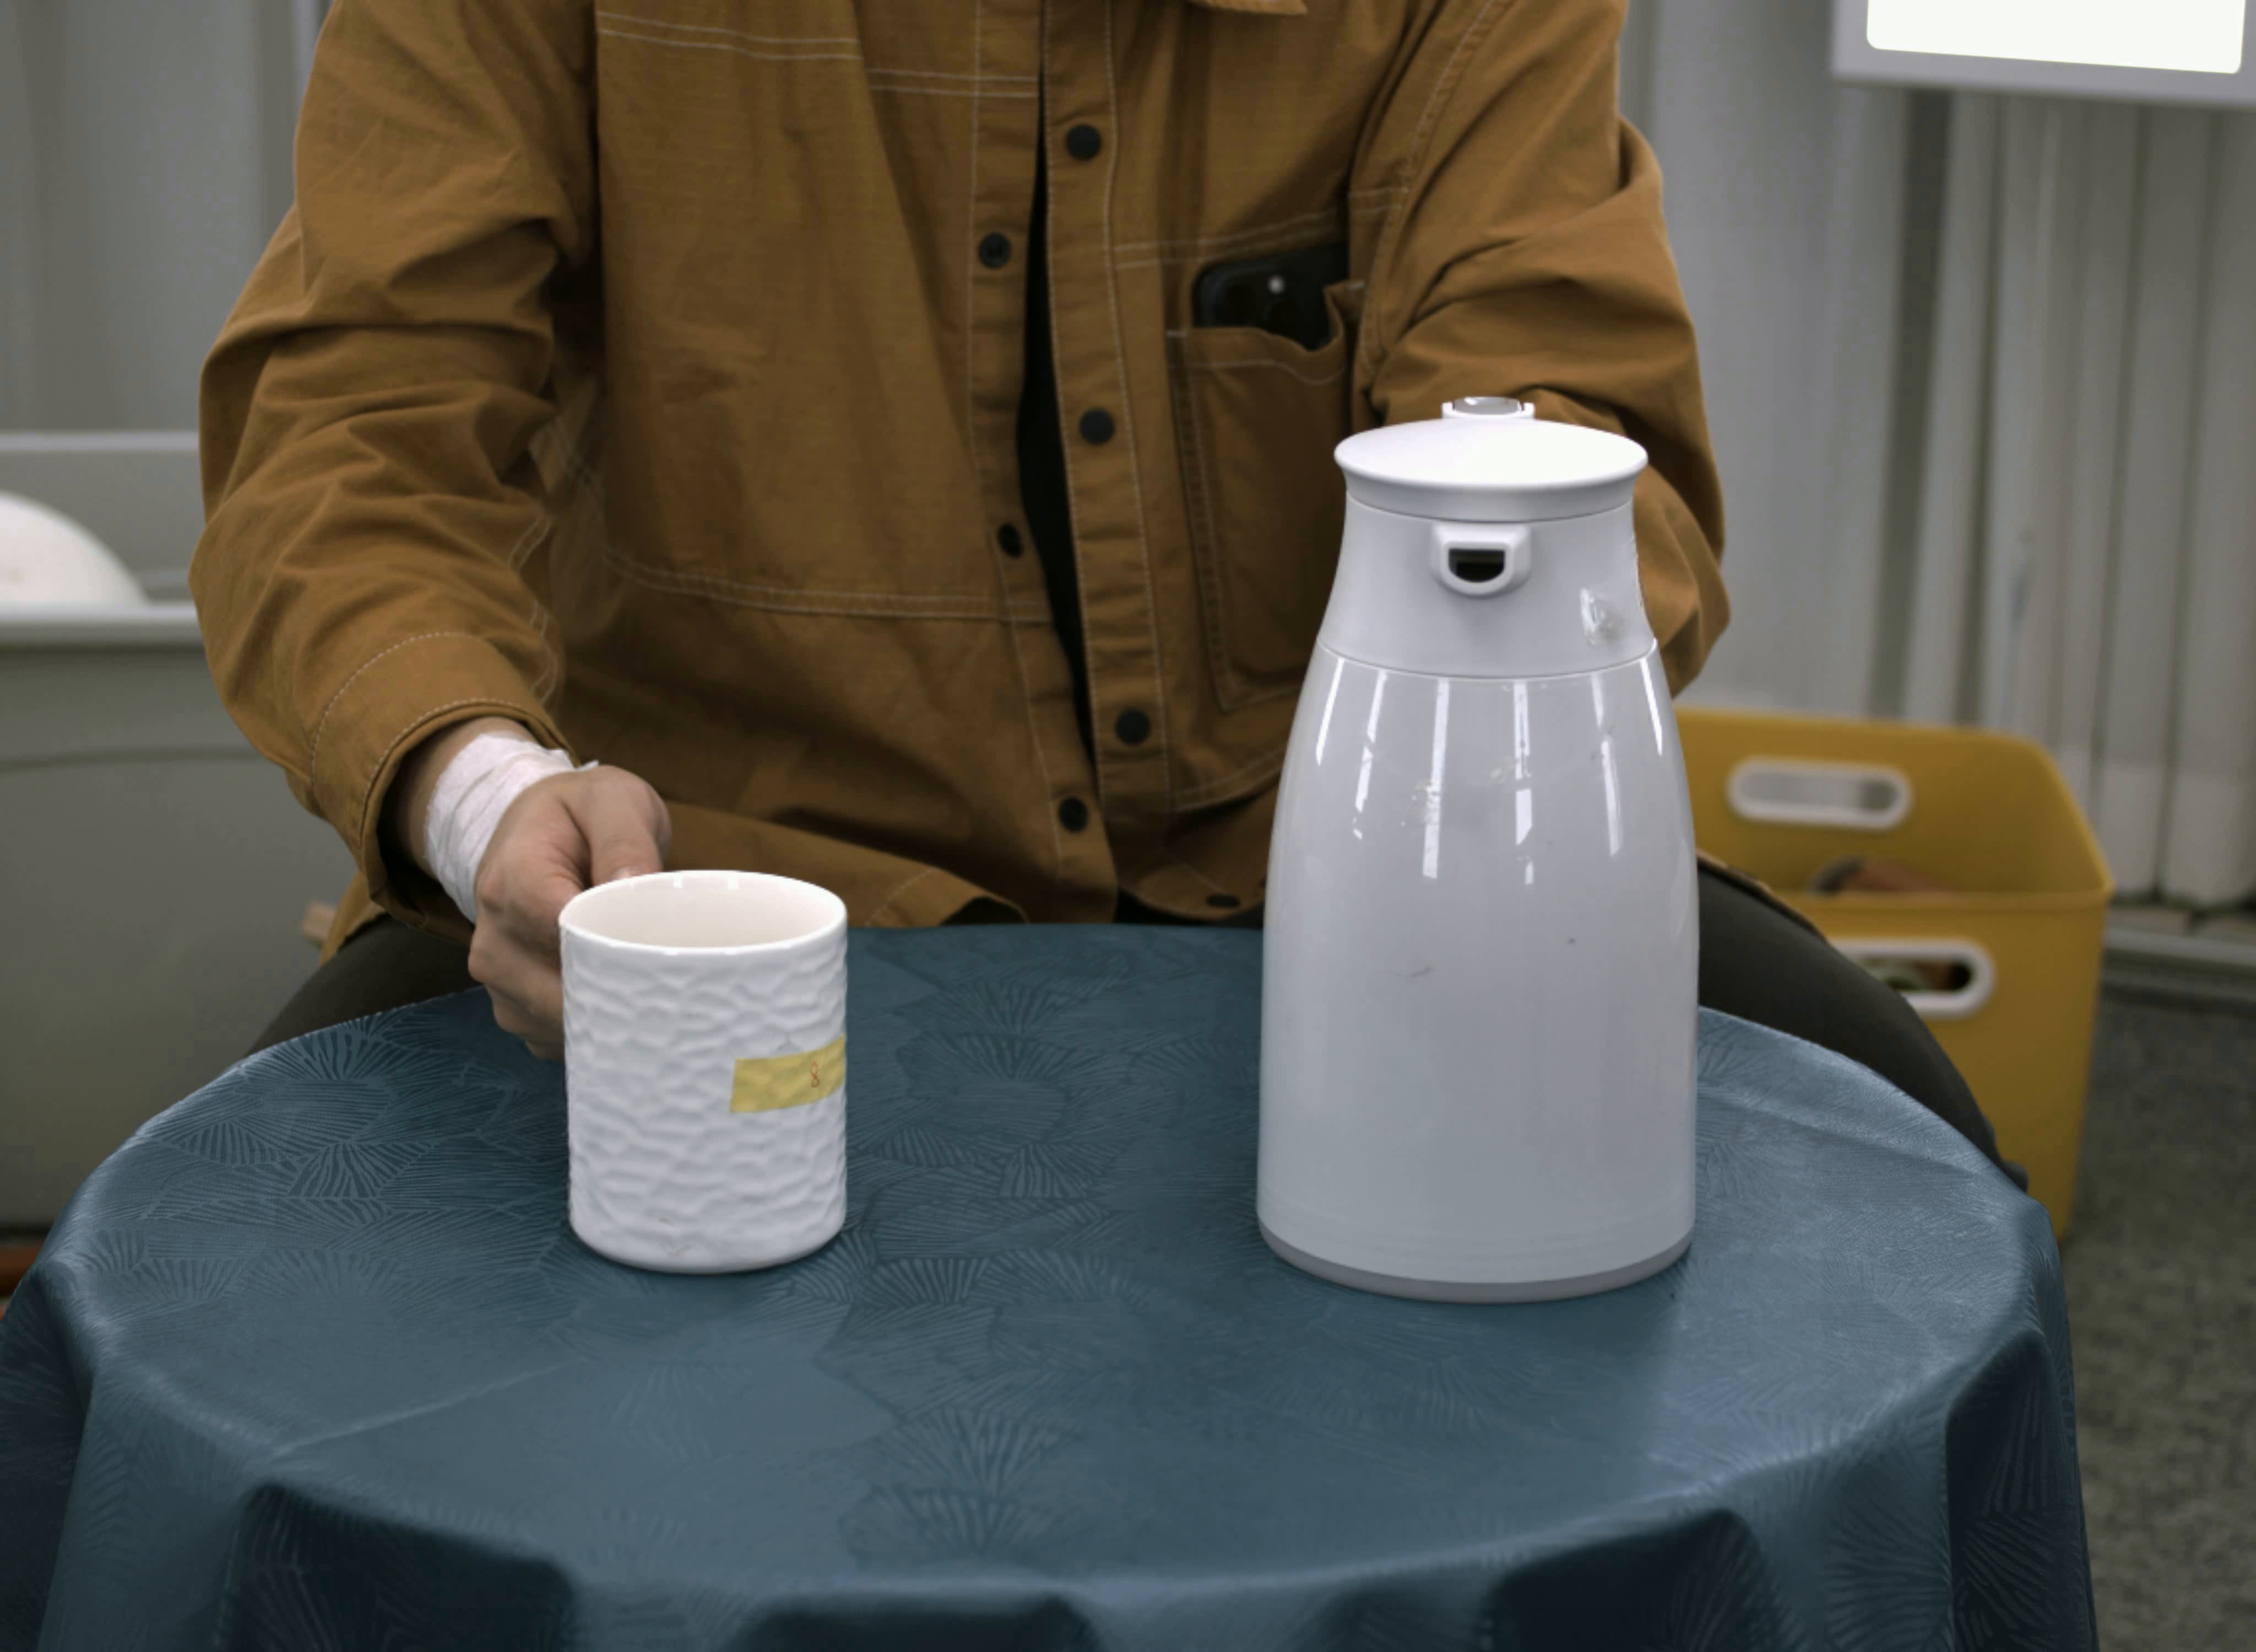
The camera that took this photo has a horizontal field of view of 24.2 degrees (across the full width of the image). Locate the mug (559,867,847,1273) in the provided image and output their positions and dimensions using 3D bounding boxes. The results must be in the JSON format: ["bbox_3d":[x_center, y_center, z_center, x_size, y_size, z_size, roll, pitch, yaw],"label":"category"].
[{"bbox_3d":[-0.133,0.069,1.583,0.085,0.103,0.117,-8,18,-26],"label":"mug"}]

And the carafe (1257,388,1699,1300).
[{"bbox_3d":[0.105,-0.003,1.575,0.132,0.250,0.167,1,16,5],"label":"carafe"}]
